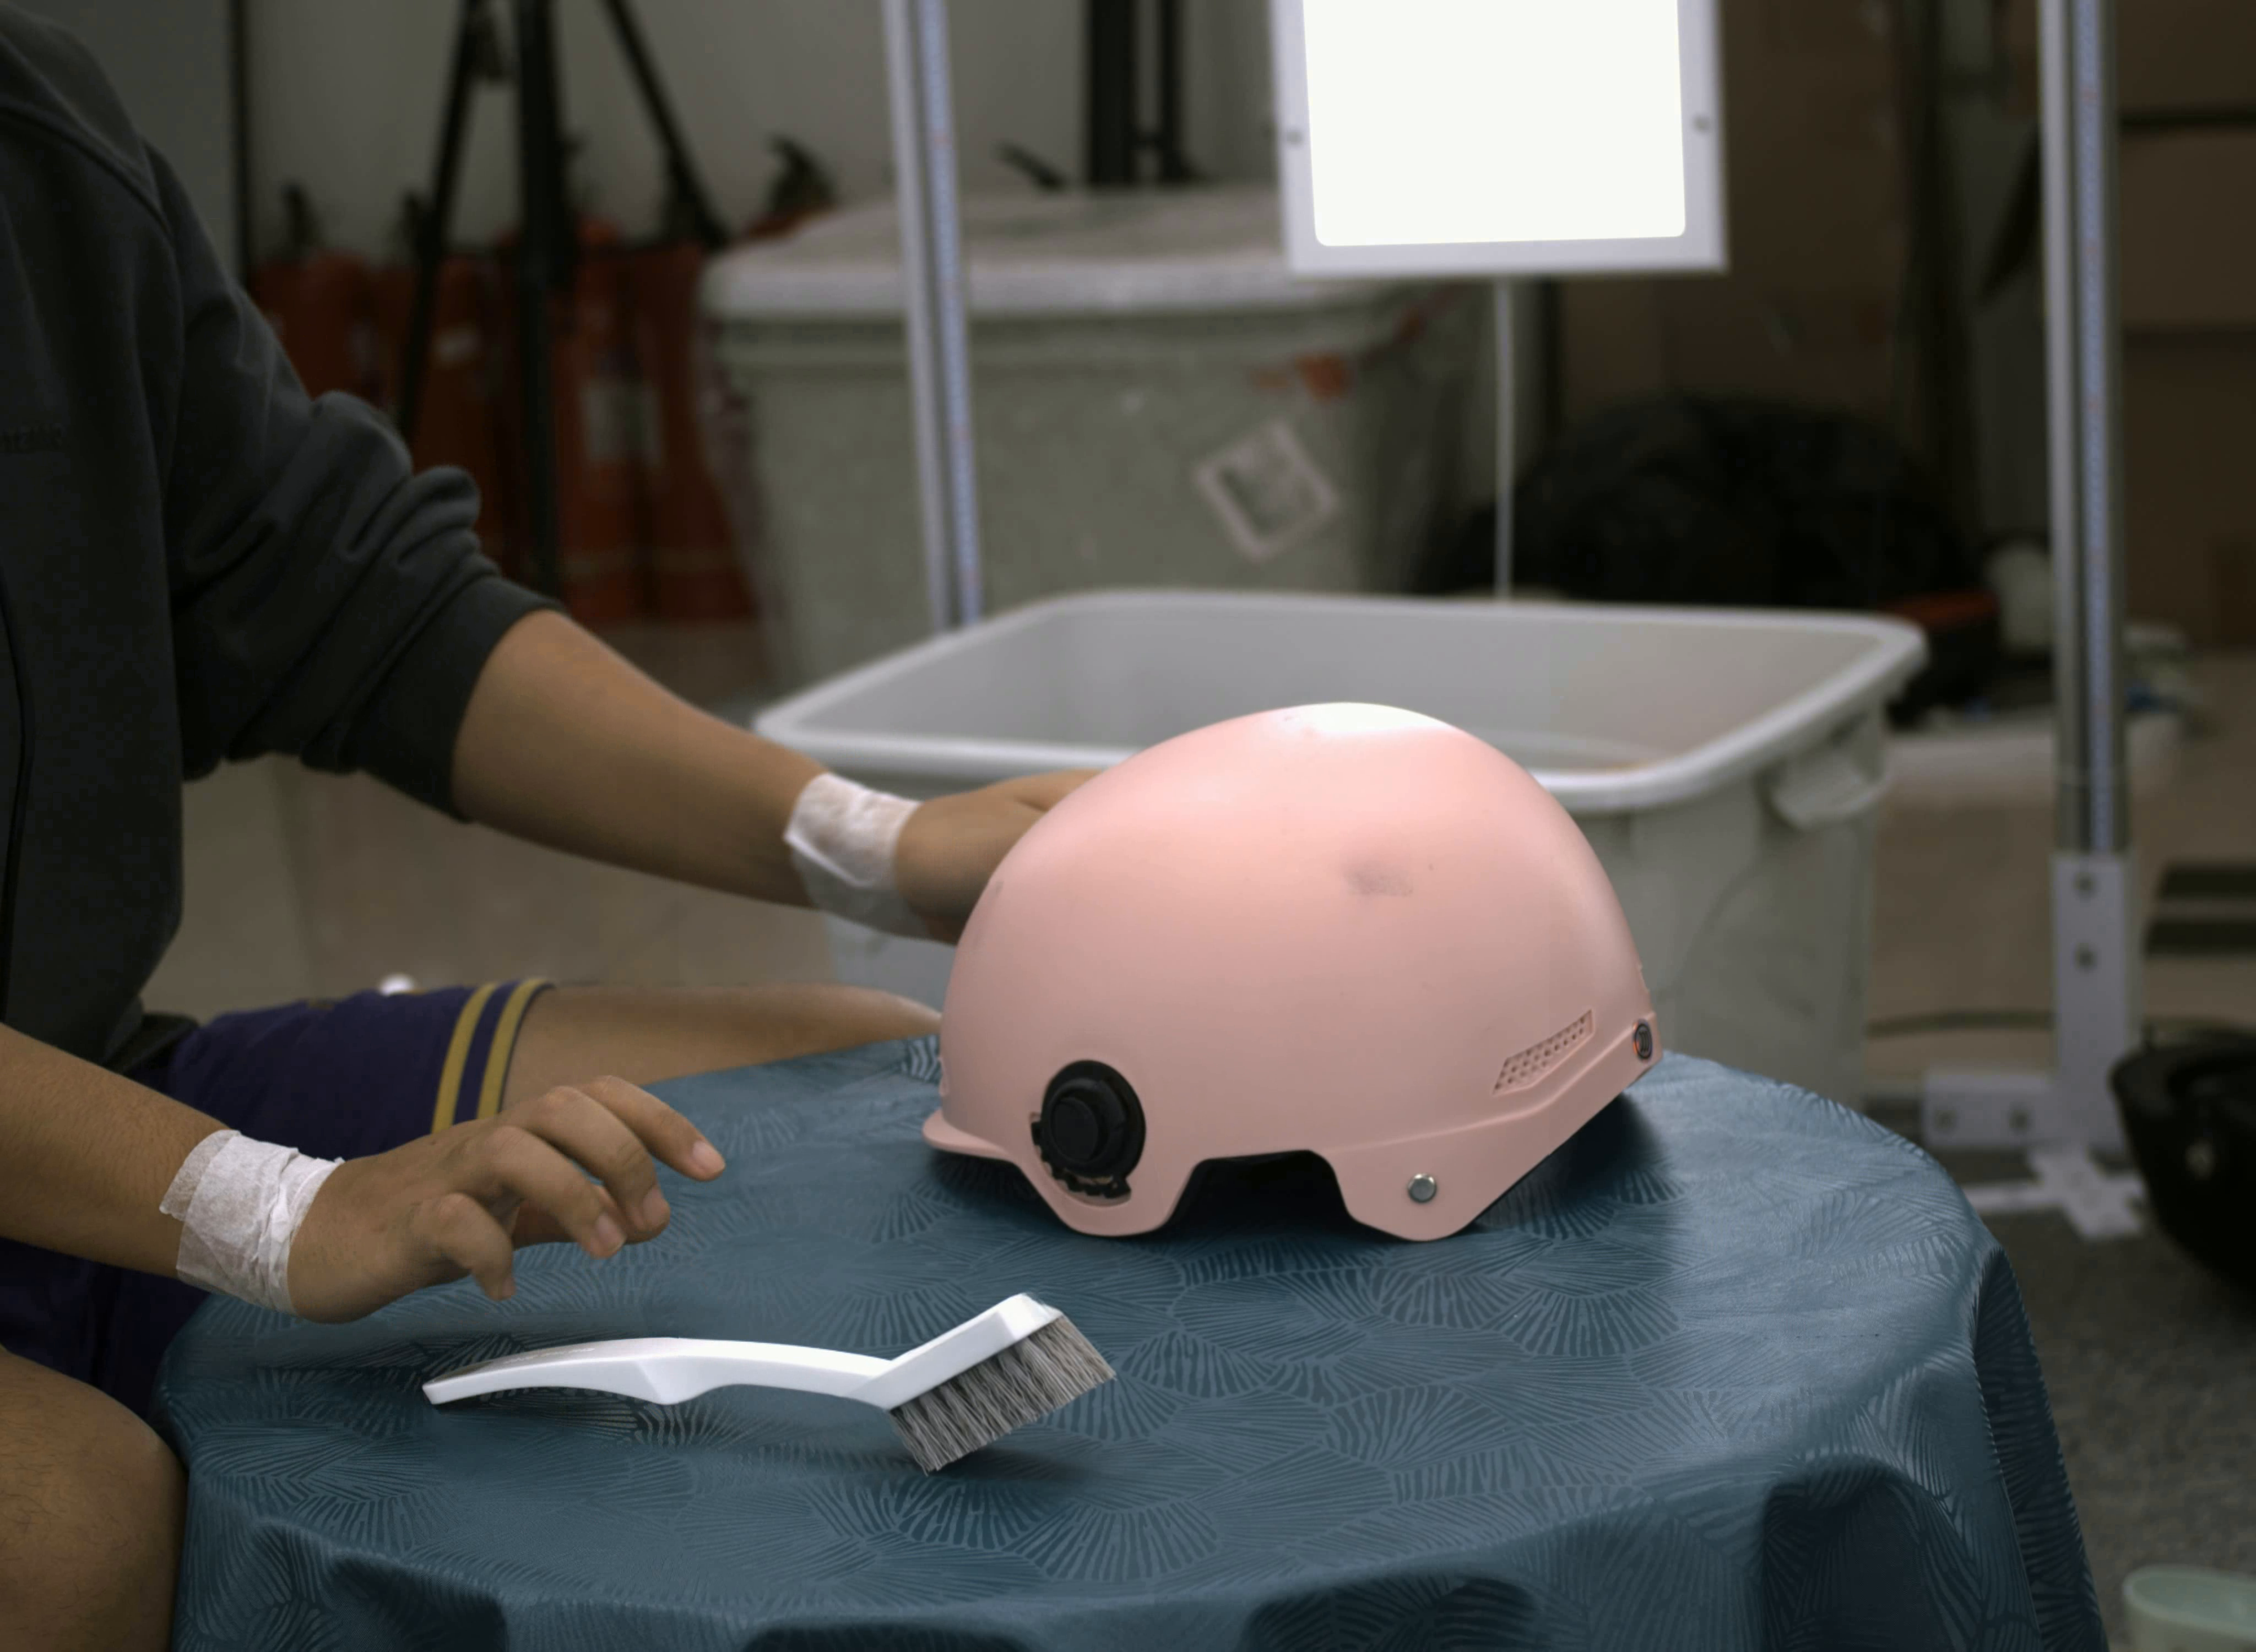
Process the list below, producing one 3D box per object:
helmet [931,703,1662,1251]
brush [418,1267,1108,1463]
[{"bbox_3d":[0.049,0.040,1.915,0.271,0.159,0.229,-3,14,27],"label":"helmet"},{"bbox_3d":[-0.114,0.177,1.687,0.248,0.050,0.033,-12,7,32],"label":"brush"}]
